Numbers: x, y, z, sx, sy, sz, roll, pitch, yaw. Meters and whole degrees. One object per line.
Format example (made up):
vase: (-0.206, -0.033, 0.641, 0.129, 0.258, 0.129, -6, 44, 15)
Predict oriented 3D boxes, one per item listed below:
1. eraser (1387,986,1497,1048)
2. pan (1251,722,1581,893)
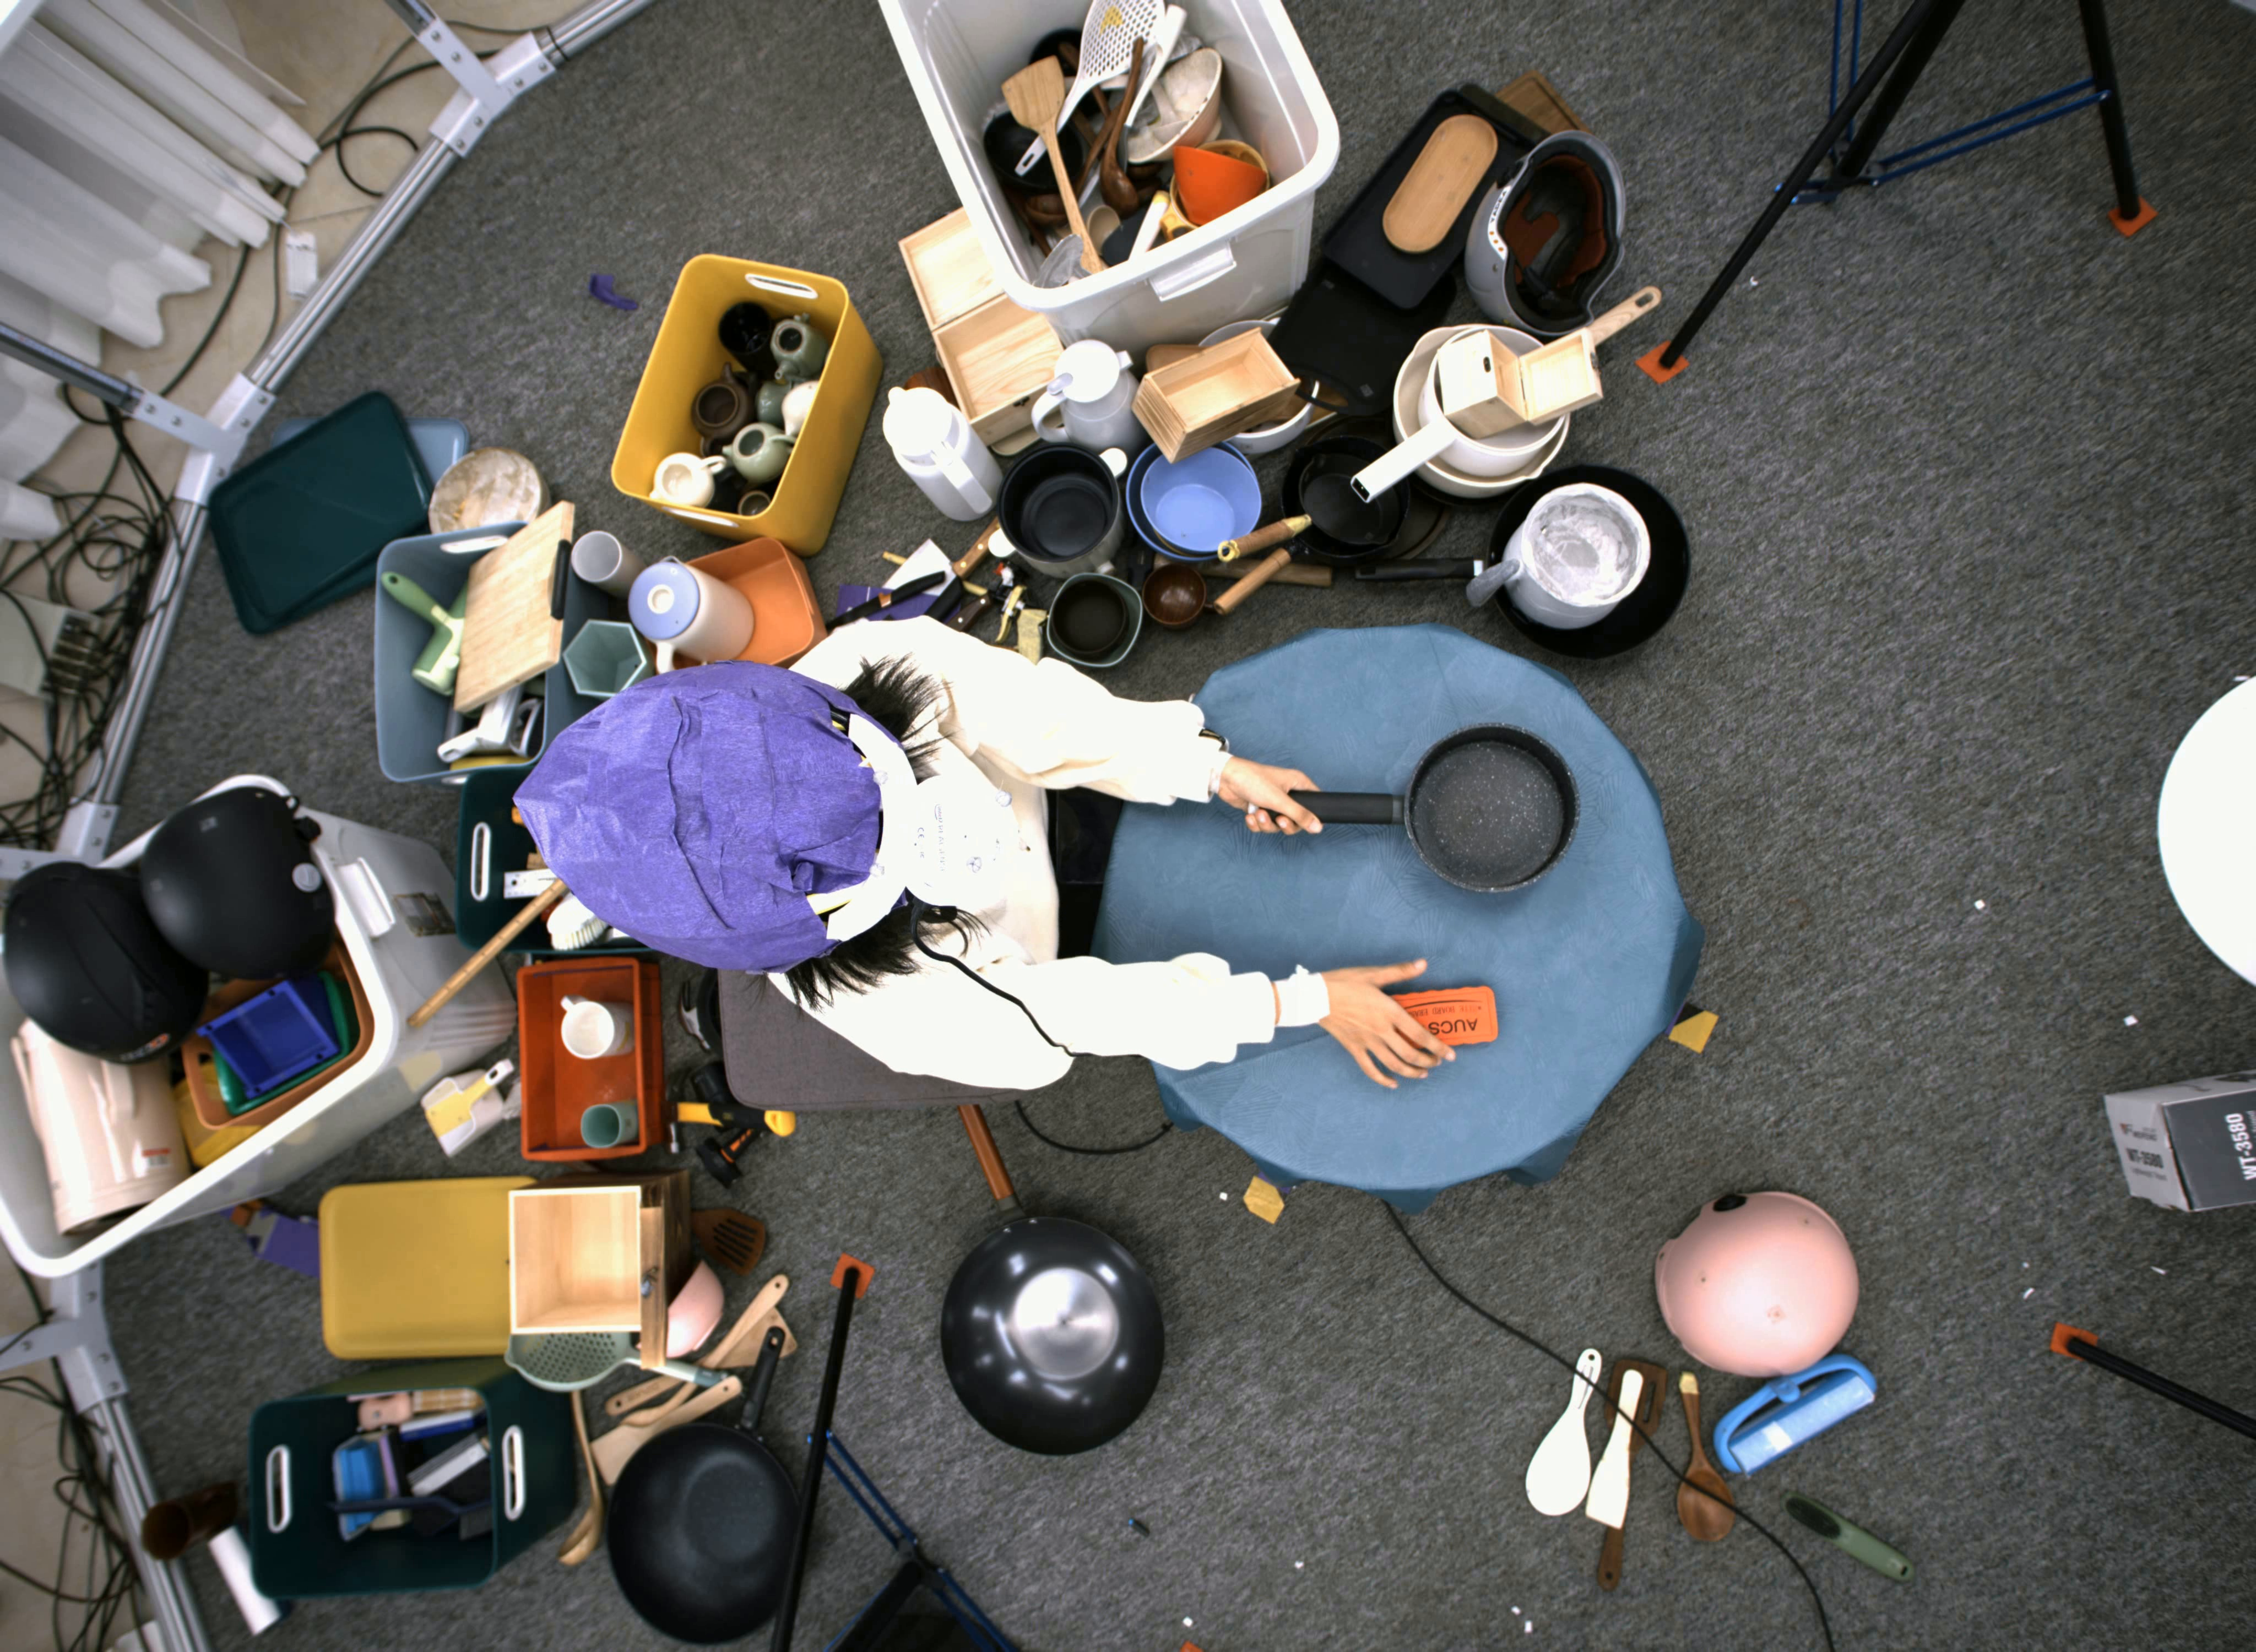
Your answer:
eraser: (0.325, 0.196, 1.431, 0.108, 0.023, 0.059, -6, 87, 10)
pan: (0.292, -0.021, 1.419, 0.330, 0.086, 0.171, 3, 87, 10)
